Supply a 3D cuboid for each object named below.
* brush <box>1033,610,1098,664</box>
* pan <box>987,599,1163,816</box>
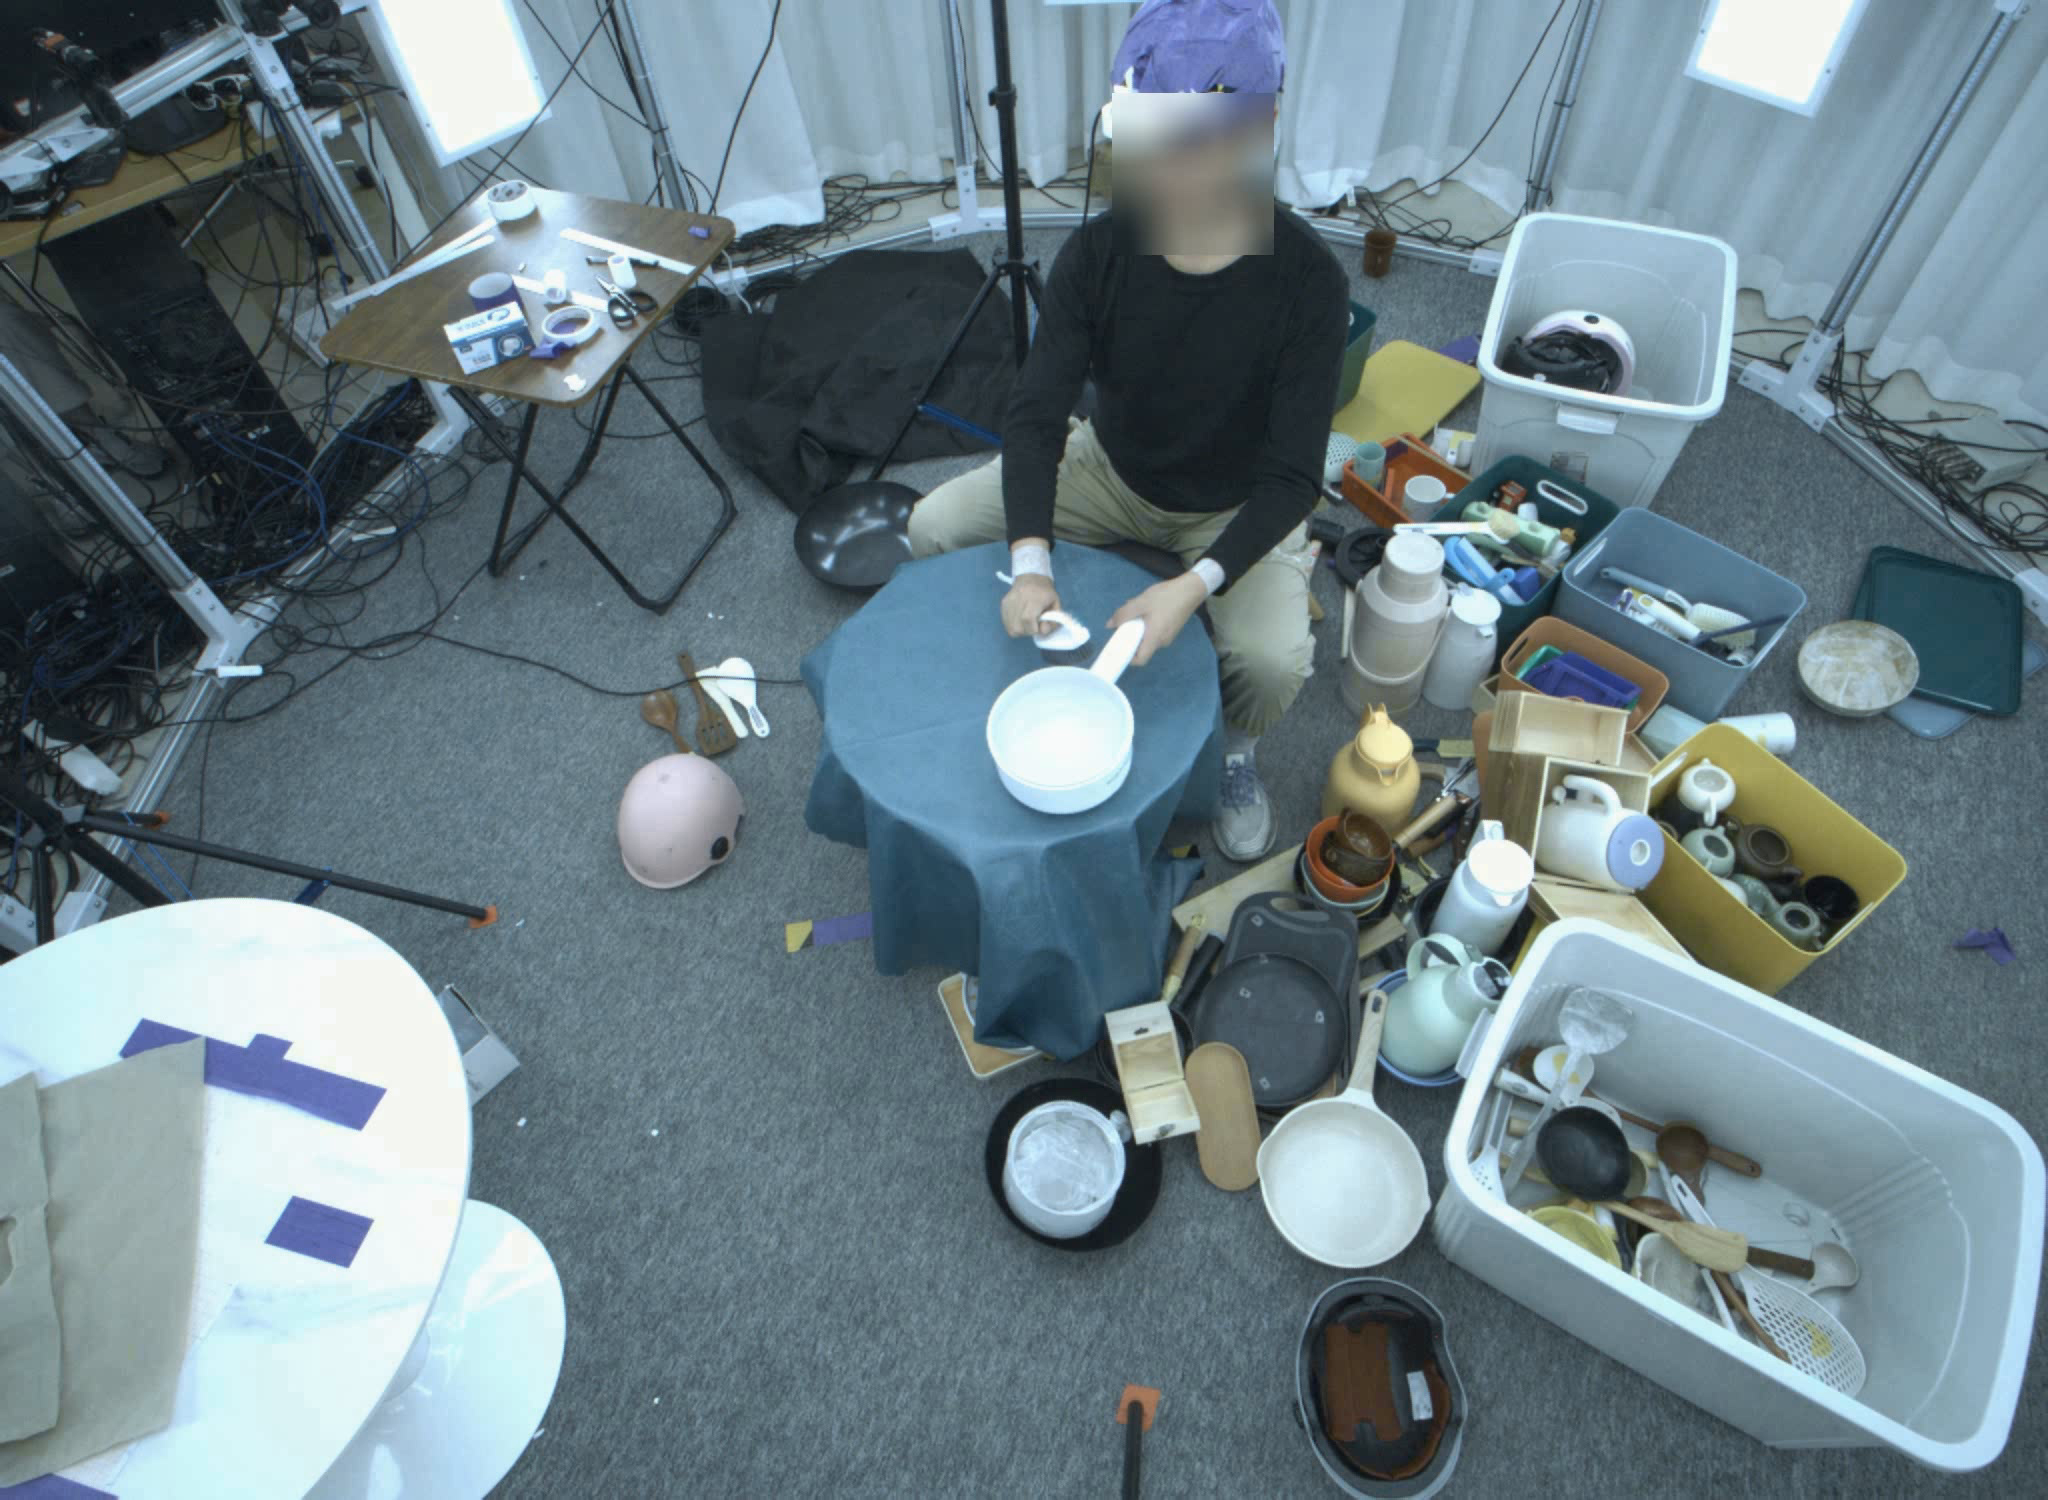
[{"bbox_3d":[0.051,-0.166,1.743,0.050,0.074,0.097,-46,32,-23],"label":"brush"},{"bbox_3d":[0.095,-0.062,1.761,0.198,0.103,0.356,25,63,22],"label":"pan"}]
